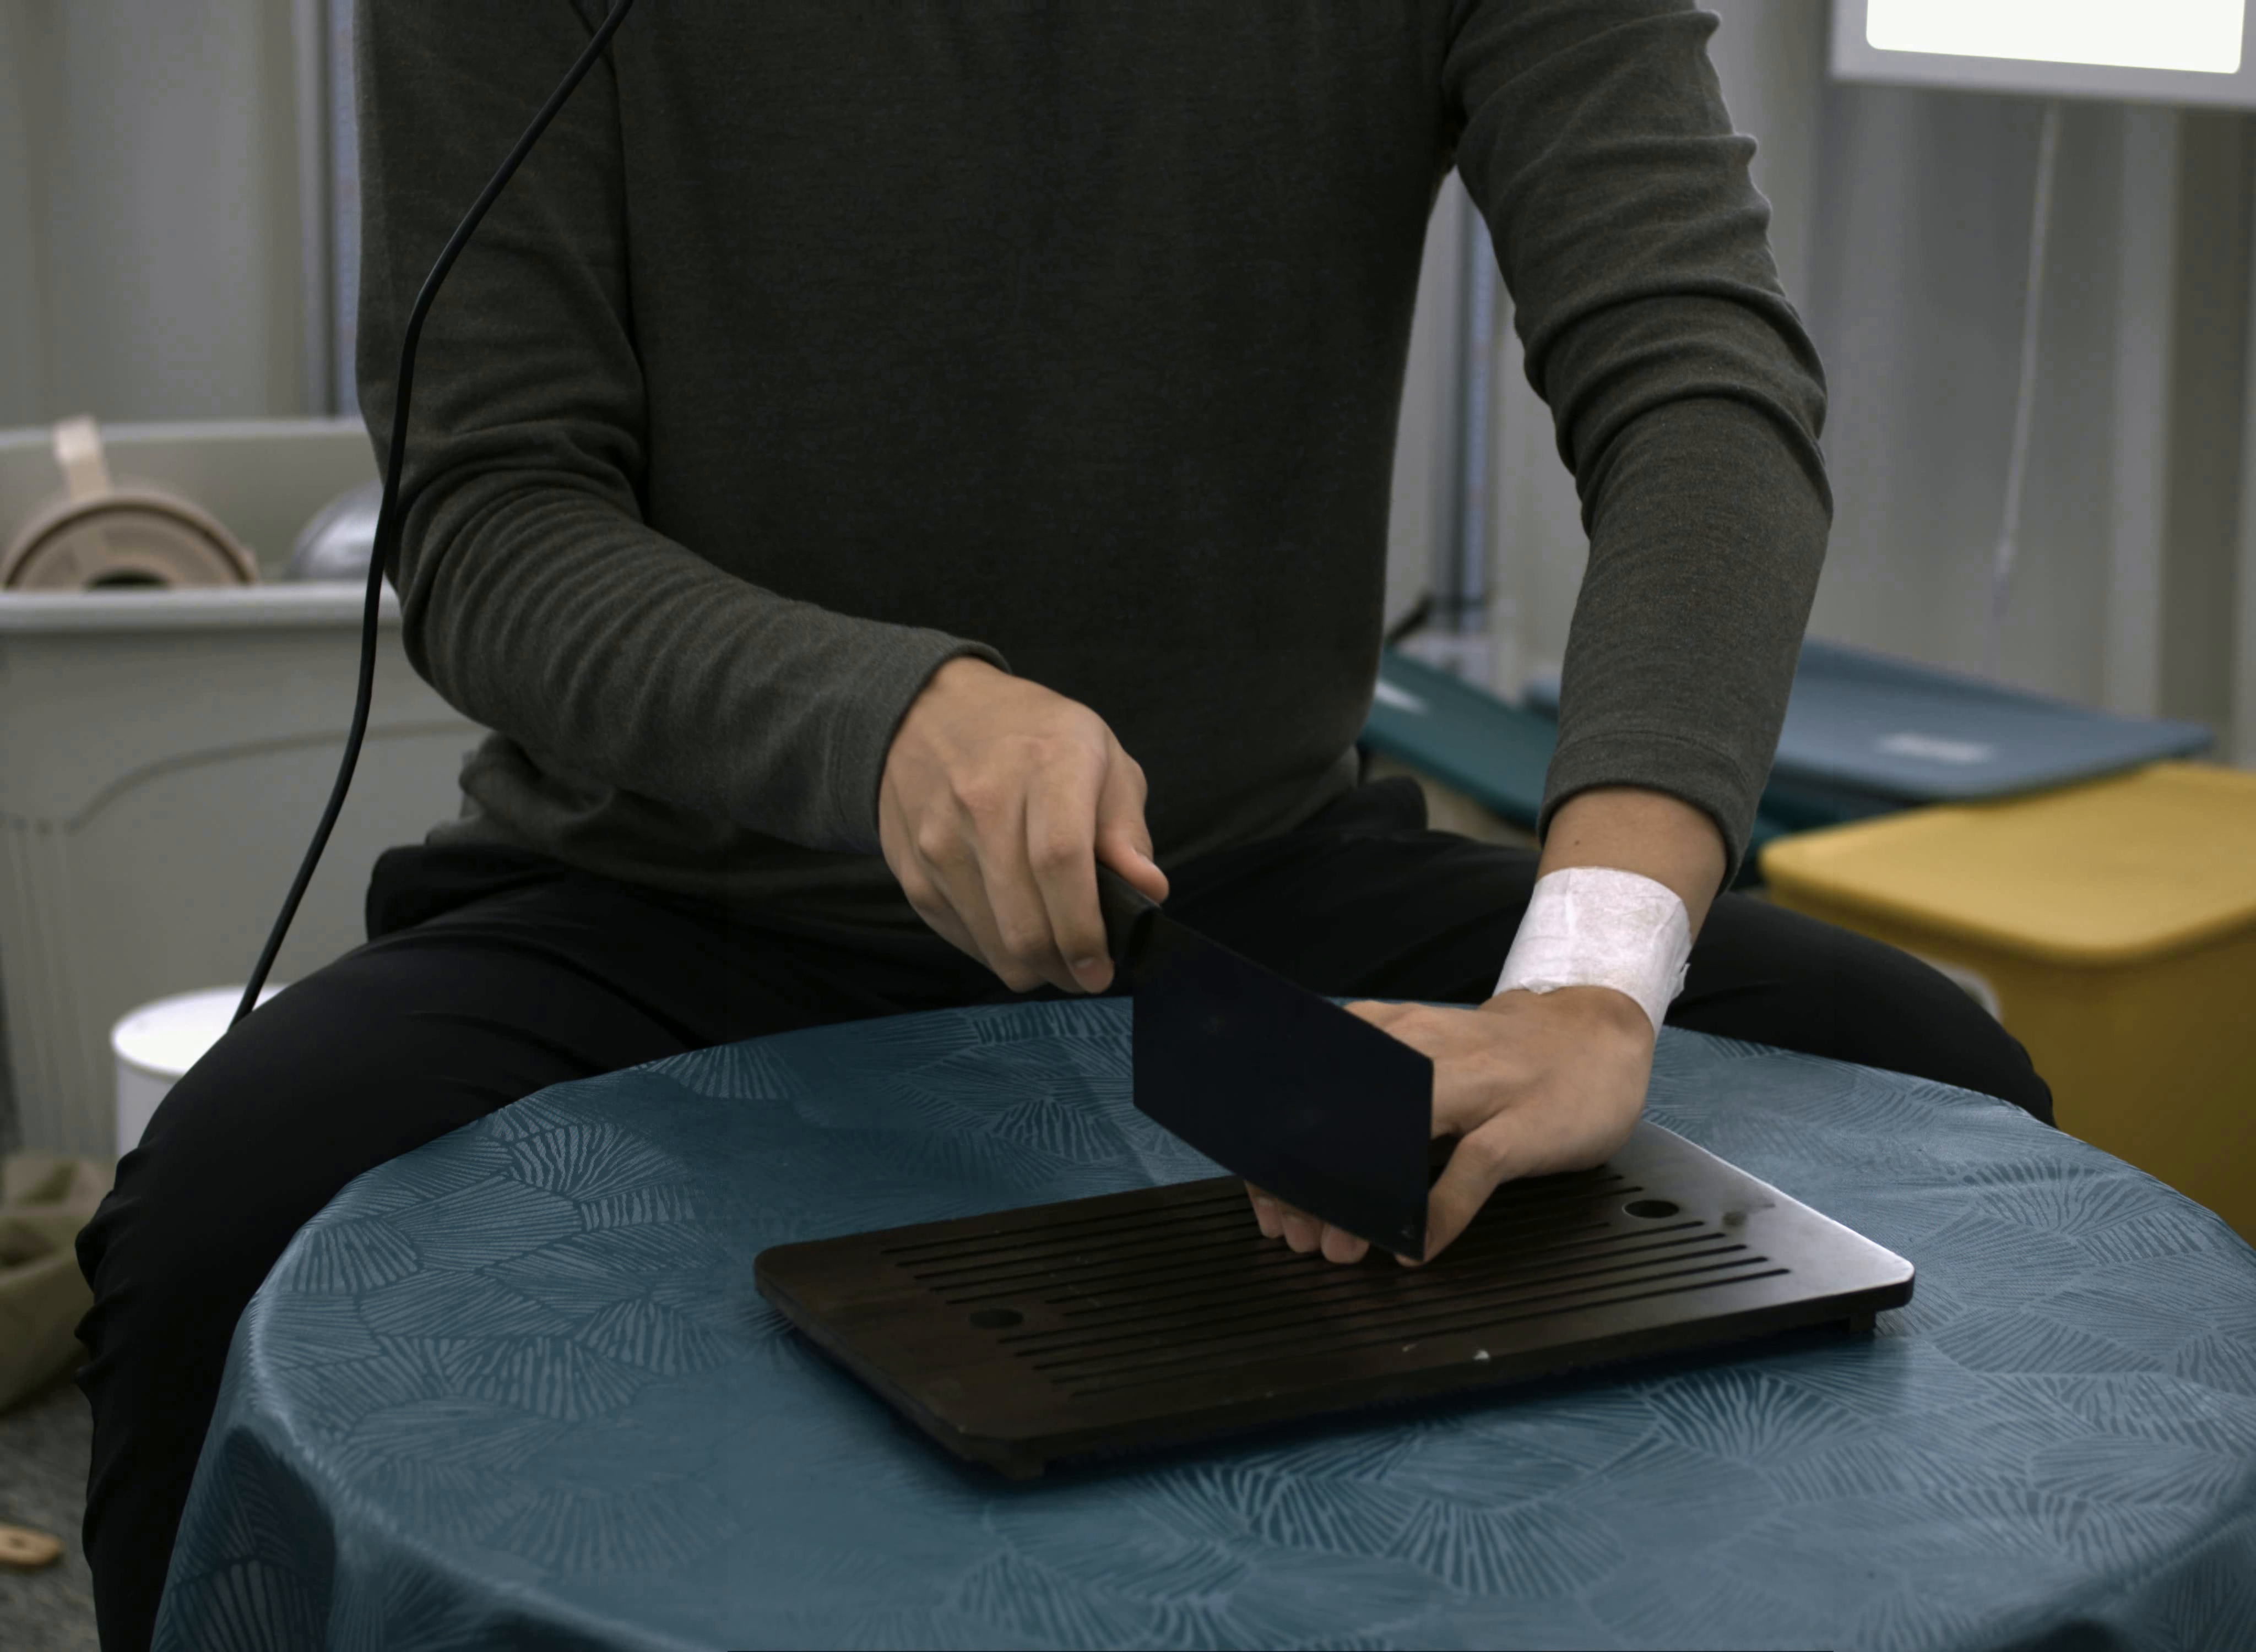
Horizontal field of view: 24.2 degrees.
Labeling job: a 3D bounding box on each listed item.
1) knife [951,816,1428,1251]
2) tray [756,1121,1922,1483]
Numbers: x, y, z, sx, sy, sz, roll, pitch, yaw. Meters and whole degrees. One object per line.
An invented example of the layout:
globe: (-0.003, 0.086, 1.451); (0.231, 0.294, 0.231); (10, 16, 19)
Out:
knife: (0.016, 0.054, 1.563); (0.021, 0.081, 0.298); (-5, 20, -26)
tray: (0.061, 0.134, 1.515); (0.307, 0.019, 0.168); (-6, 16, -26)
